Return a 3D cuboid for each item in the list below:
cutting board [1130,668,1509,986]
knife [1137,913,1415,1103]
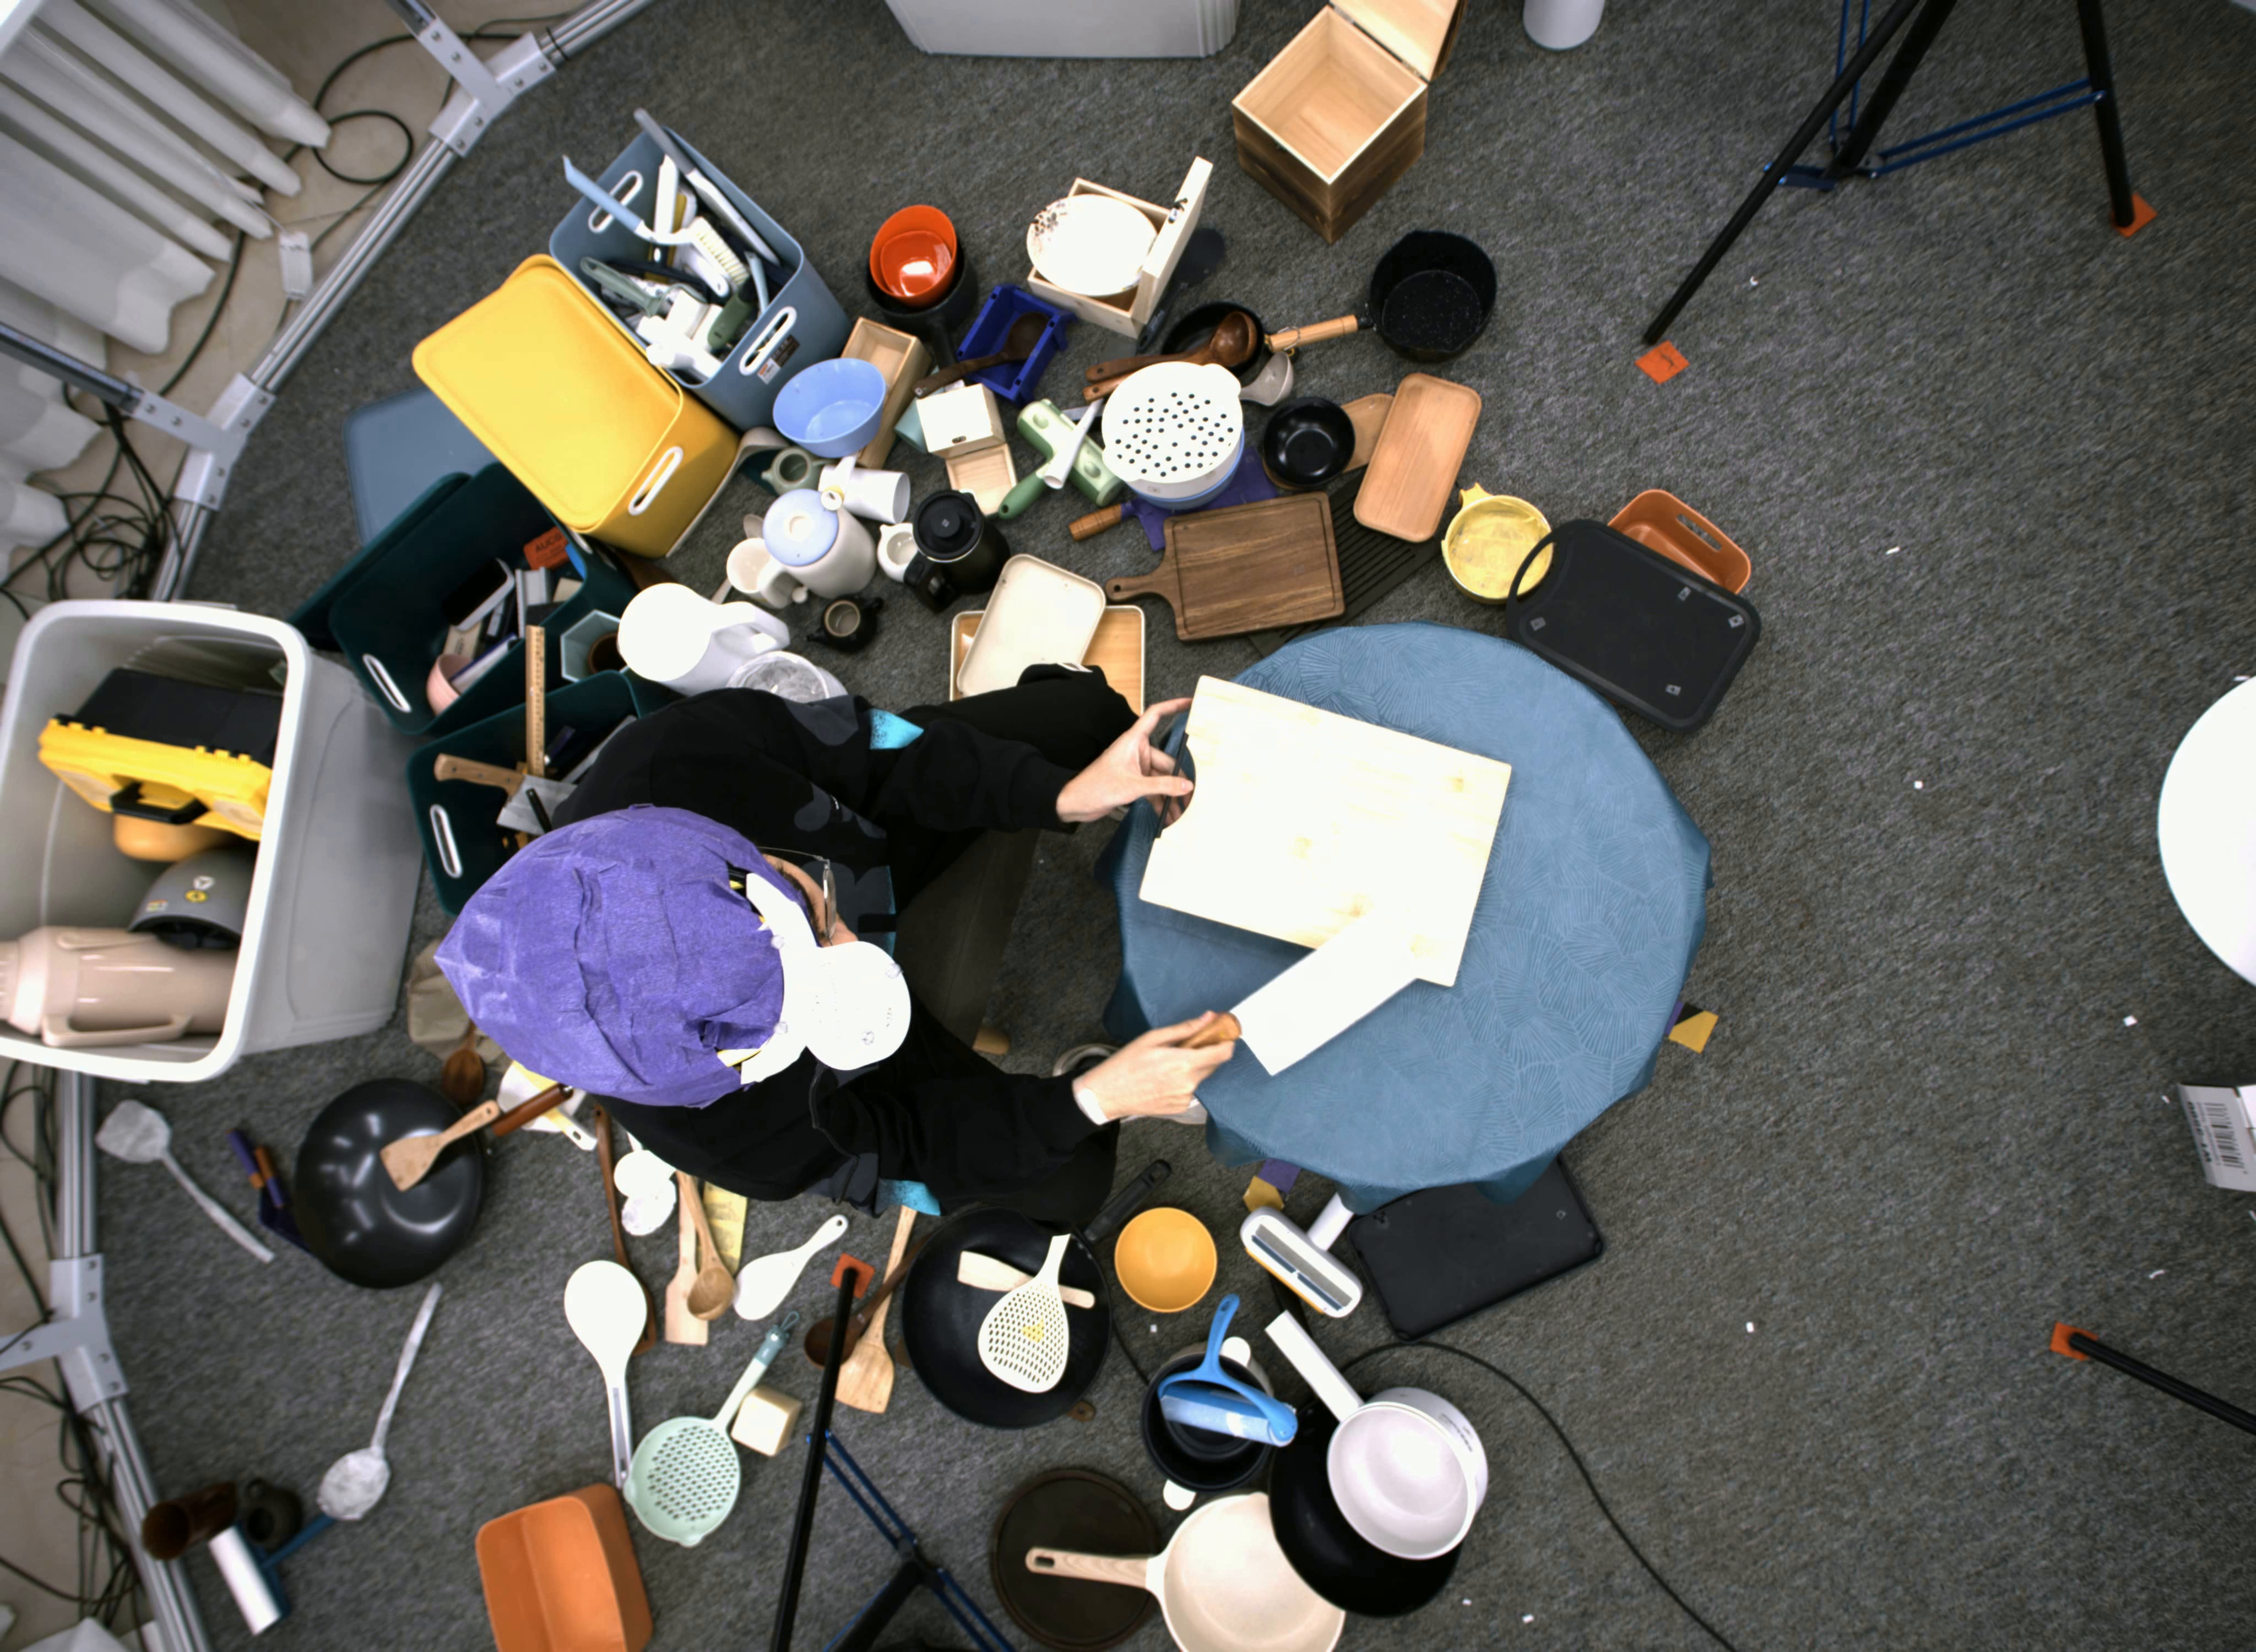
[{"bbox_3d":[0.199,0.002,1.426,0.349,0.023,0.250,15,90,-3],"label":"cutting board"},{"bbox_3d":[0.153,0.201,1.401,0.308,0.020,0.094,-36,112,10],"label":"knife"}]
